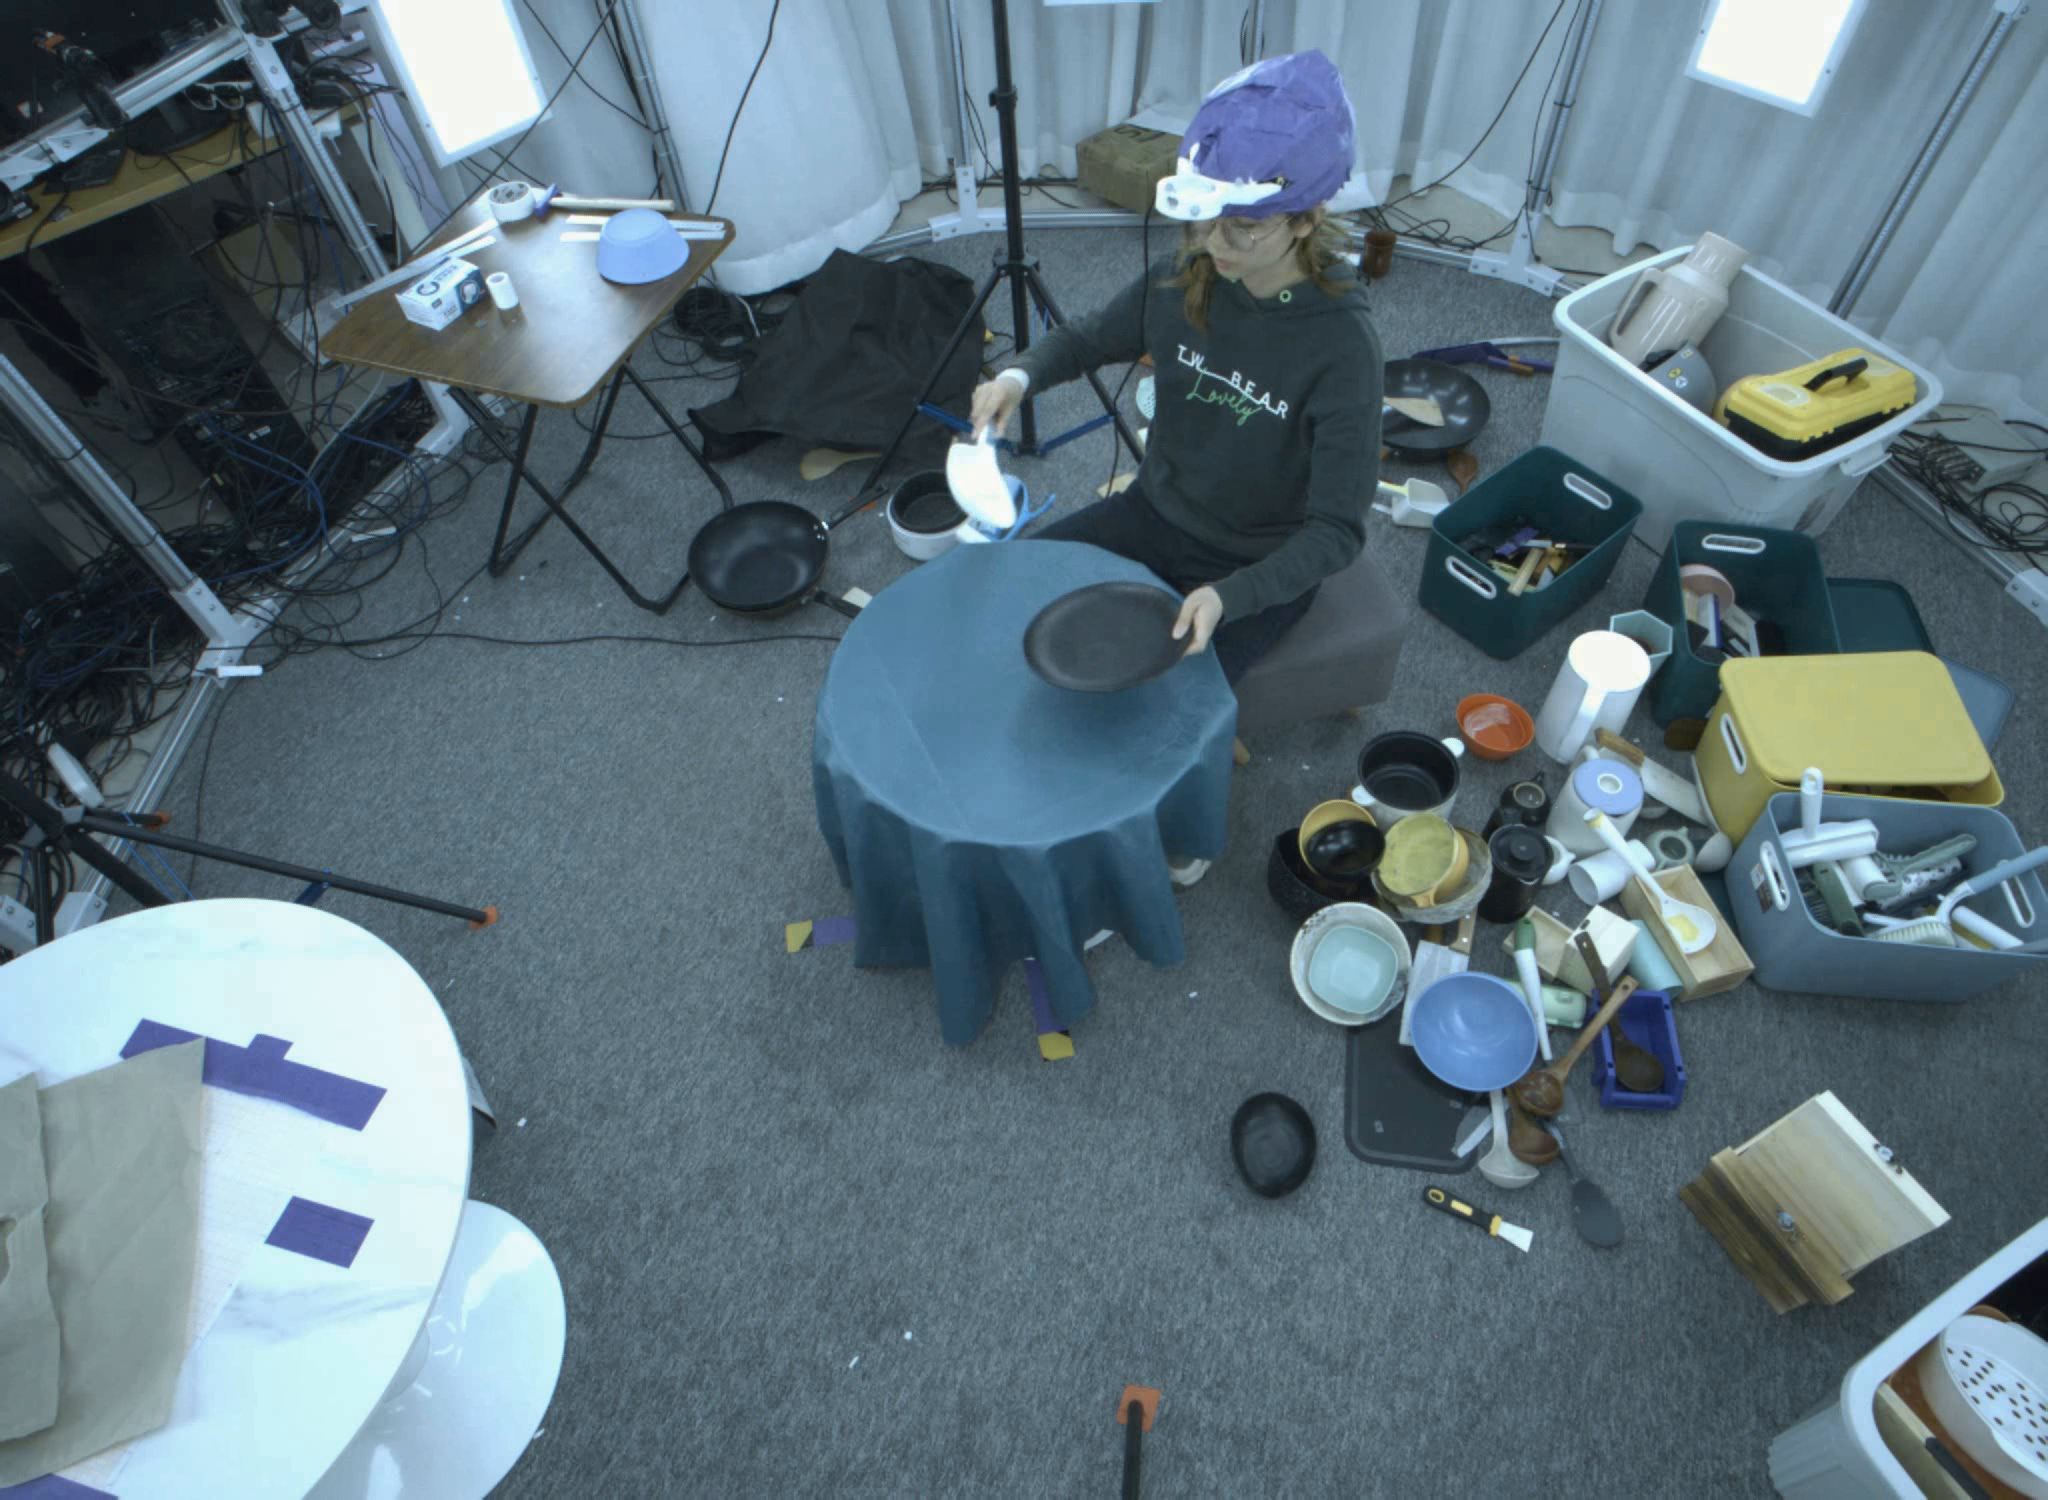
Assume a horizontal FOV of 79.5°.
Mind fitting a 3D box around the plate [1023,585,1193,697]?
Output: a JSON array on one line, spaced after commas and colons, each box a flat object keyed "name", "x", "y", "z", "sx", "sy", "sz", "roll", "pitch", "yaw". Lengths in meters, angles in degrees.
[{"name": "plate", "x": 0.119, "y": -0.152, "z": 1.759, "sx": 0.243, "sy": 0.024, "sz": 0.242, "roll": -5, "pitch": 45, "yaw": 7}]

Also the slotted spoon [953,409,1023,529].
[{"name": "slotted spoon", "x": -0.049, "y": -0.425, "z": 1.773, "sx": 0.045, "sy": 0.138, "sz": 0.347, "roll": -31, "pitch": 31, "yaw": 30}]
